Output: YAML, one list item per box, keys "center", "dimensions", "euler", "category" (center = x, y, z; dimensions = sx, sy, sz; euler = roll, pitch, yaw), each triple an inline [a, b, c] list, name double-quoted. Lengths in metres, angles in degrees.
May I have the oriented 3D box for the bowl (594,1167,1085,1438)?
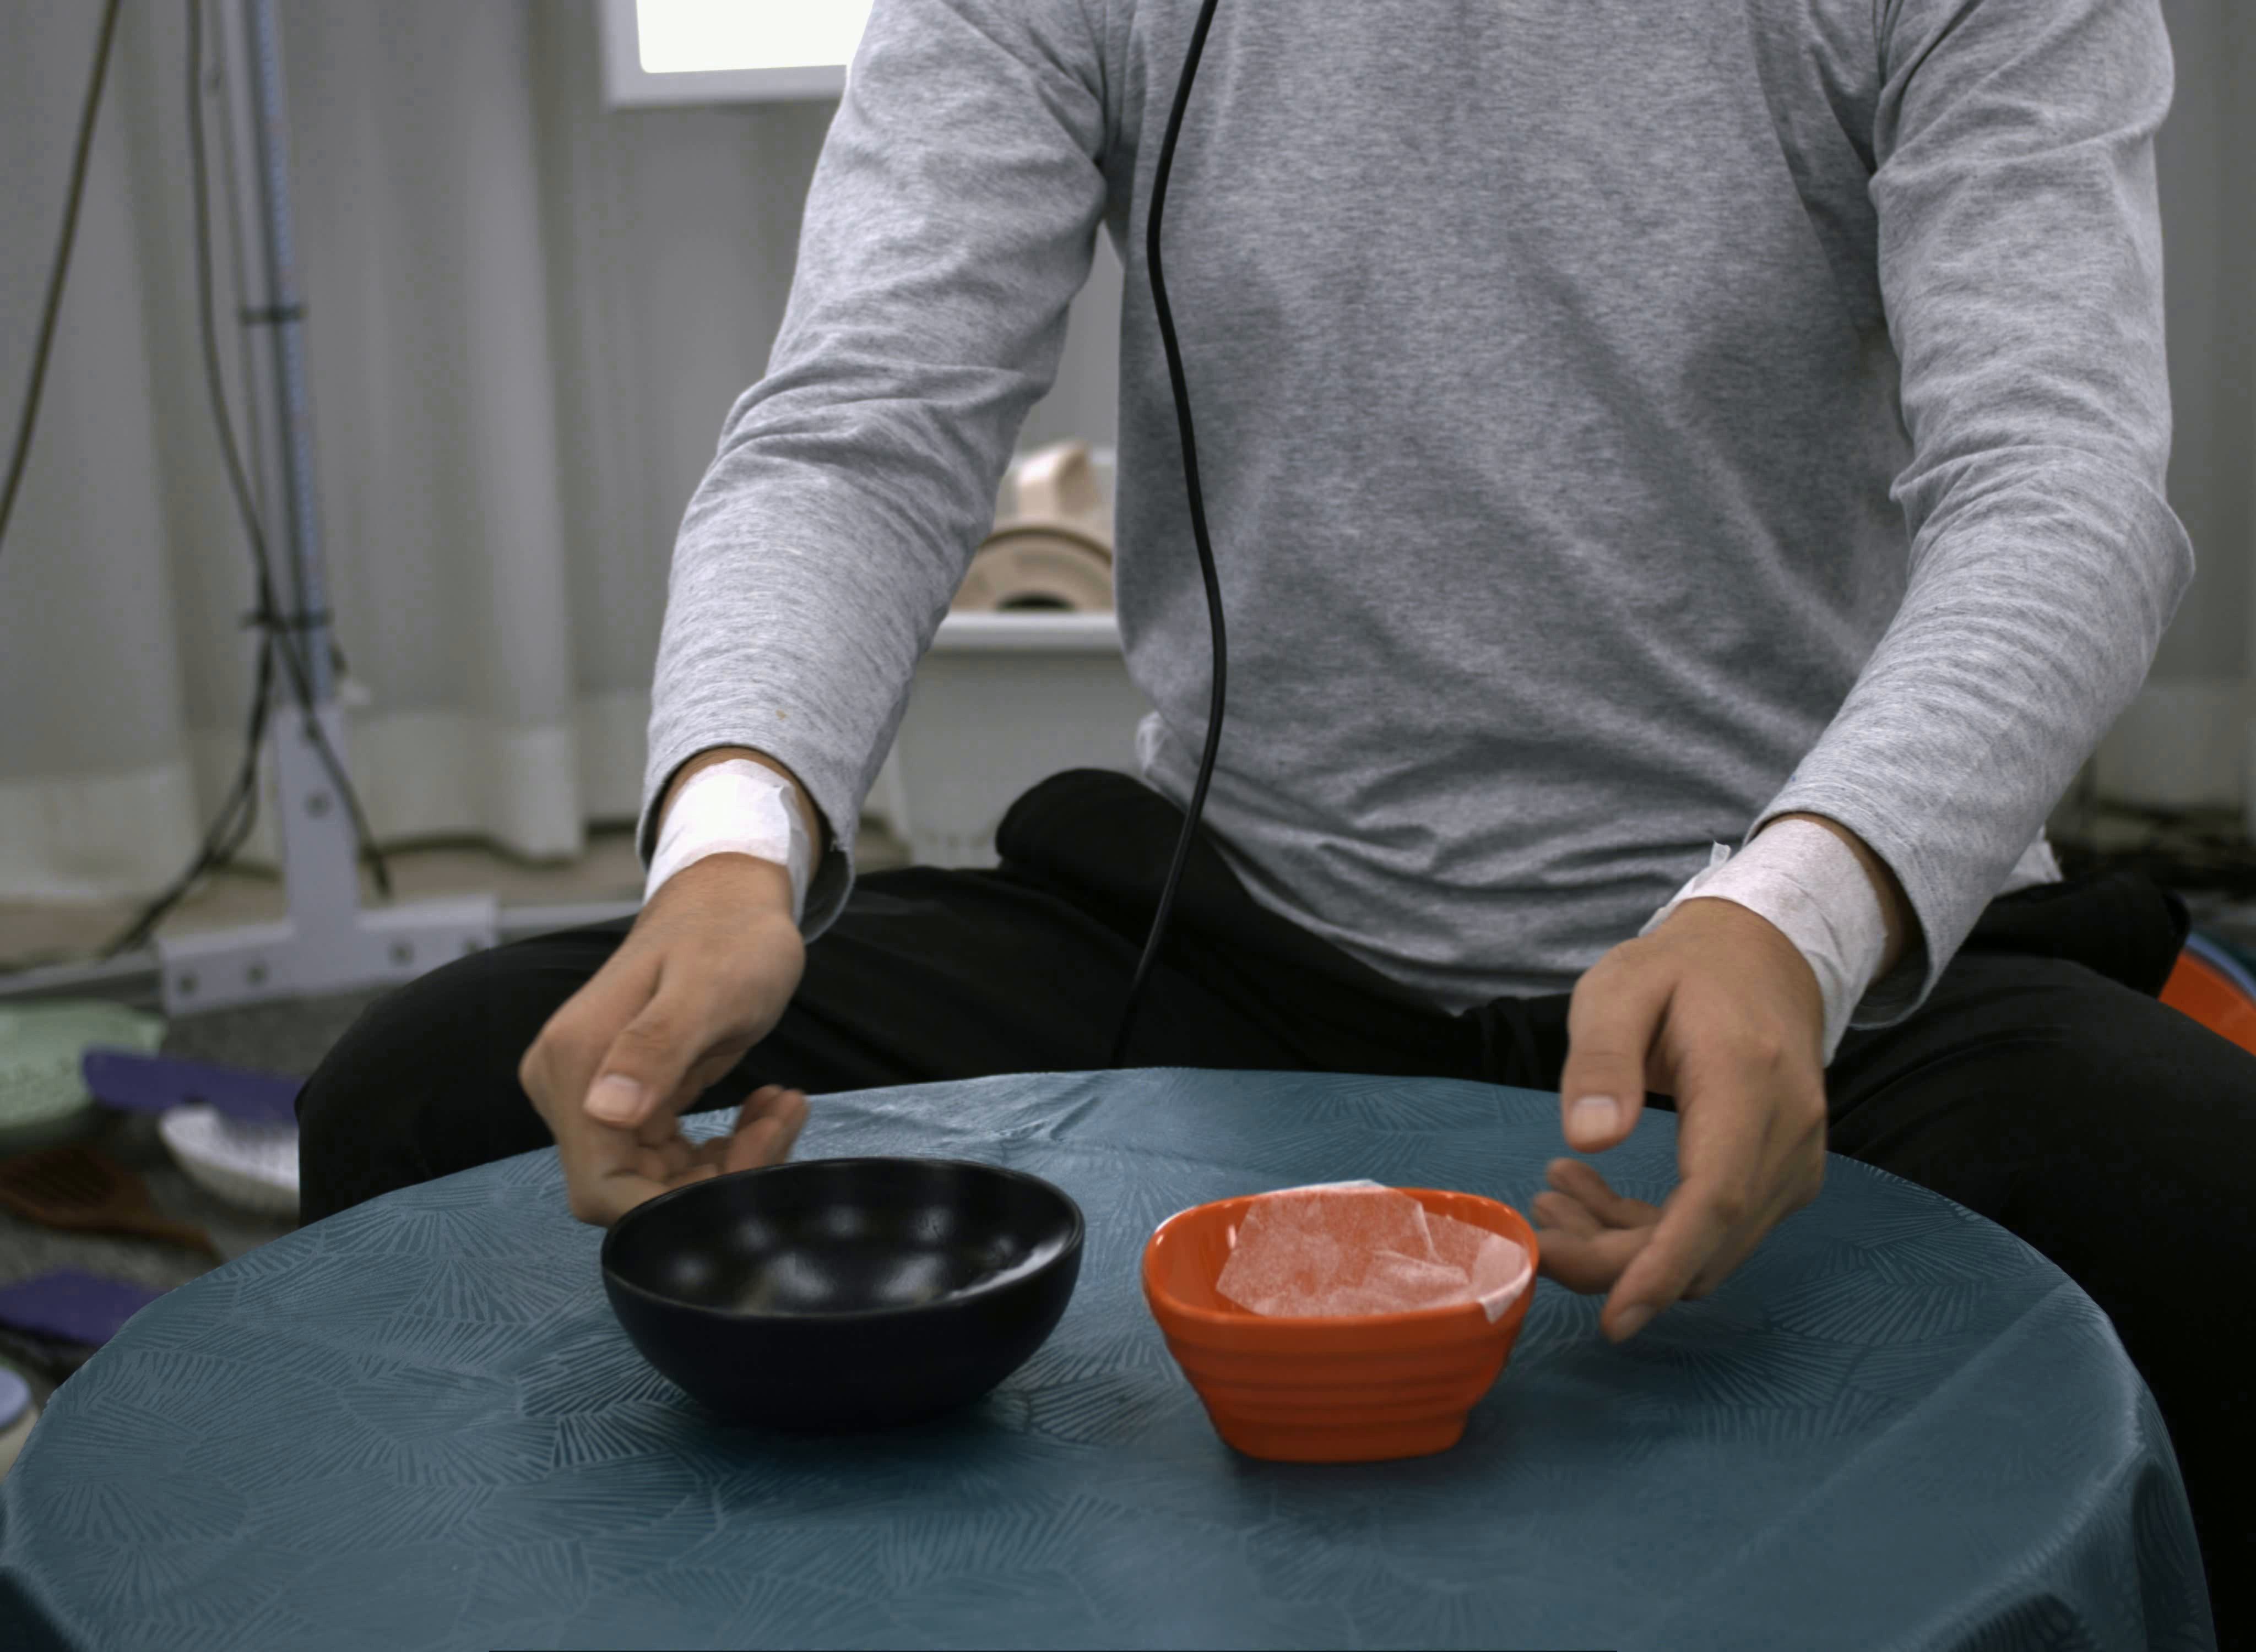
- center: [-0.081, 0.139, 1.550]
  dimensions: [0.139, 0.049, 0.141]
  euler: [-1, 12, 0]
  category: "bowl"

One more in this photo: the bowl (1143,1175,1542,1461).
- center: [0.060, 0.139, 1.511]
  dimensions: [0.118, 0.051, 0.120]
  euler: [-4, 16, 1]
  category: "bowl"
